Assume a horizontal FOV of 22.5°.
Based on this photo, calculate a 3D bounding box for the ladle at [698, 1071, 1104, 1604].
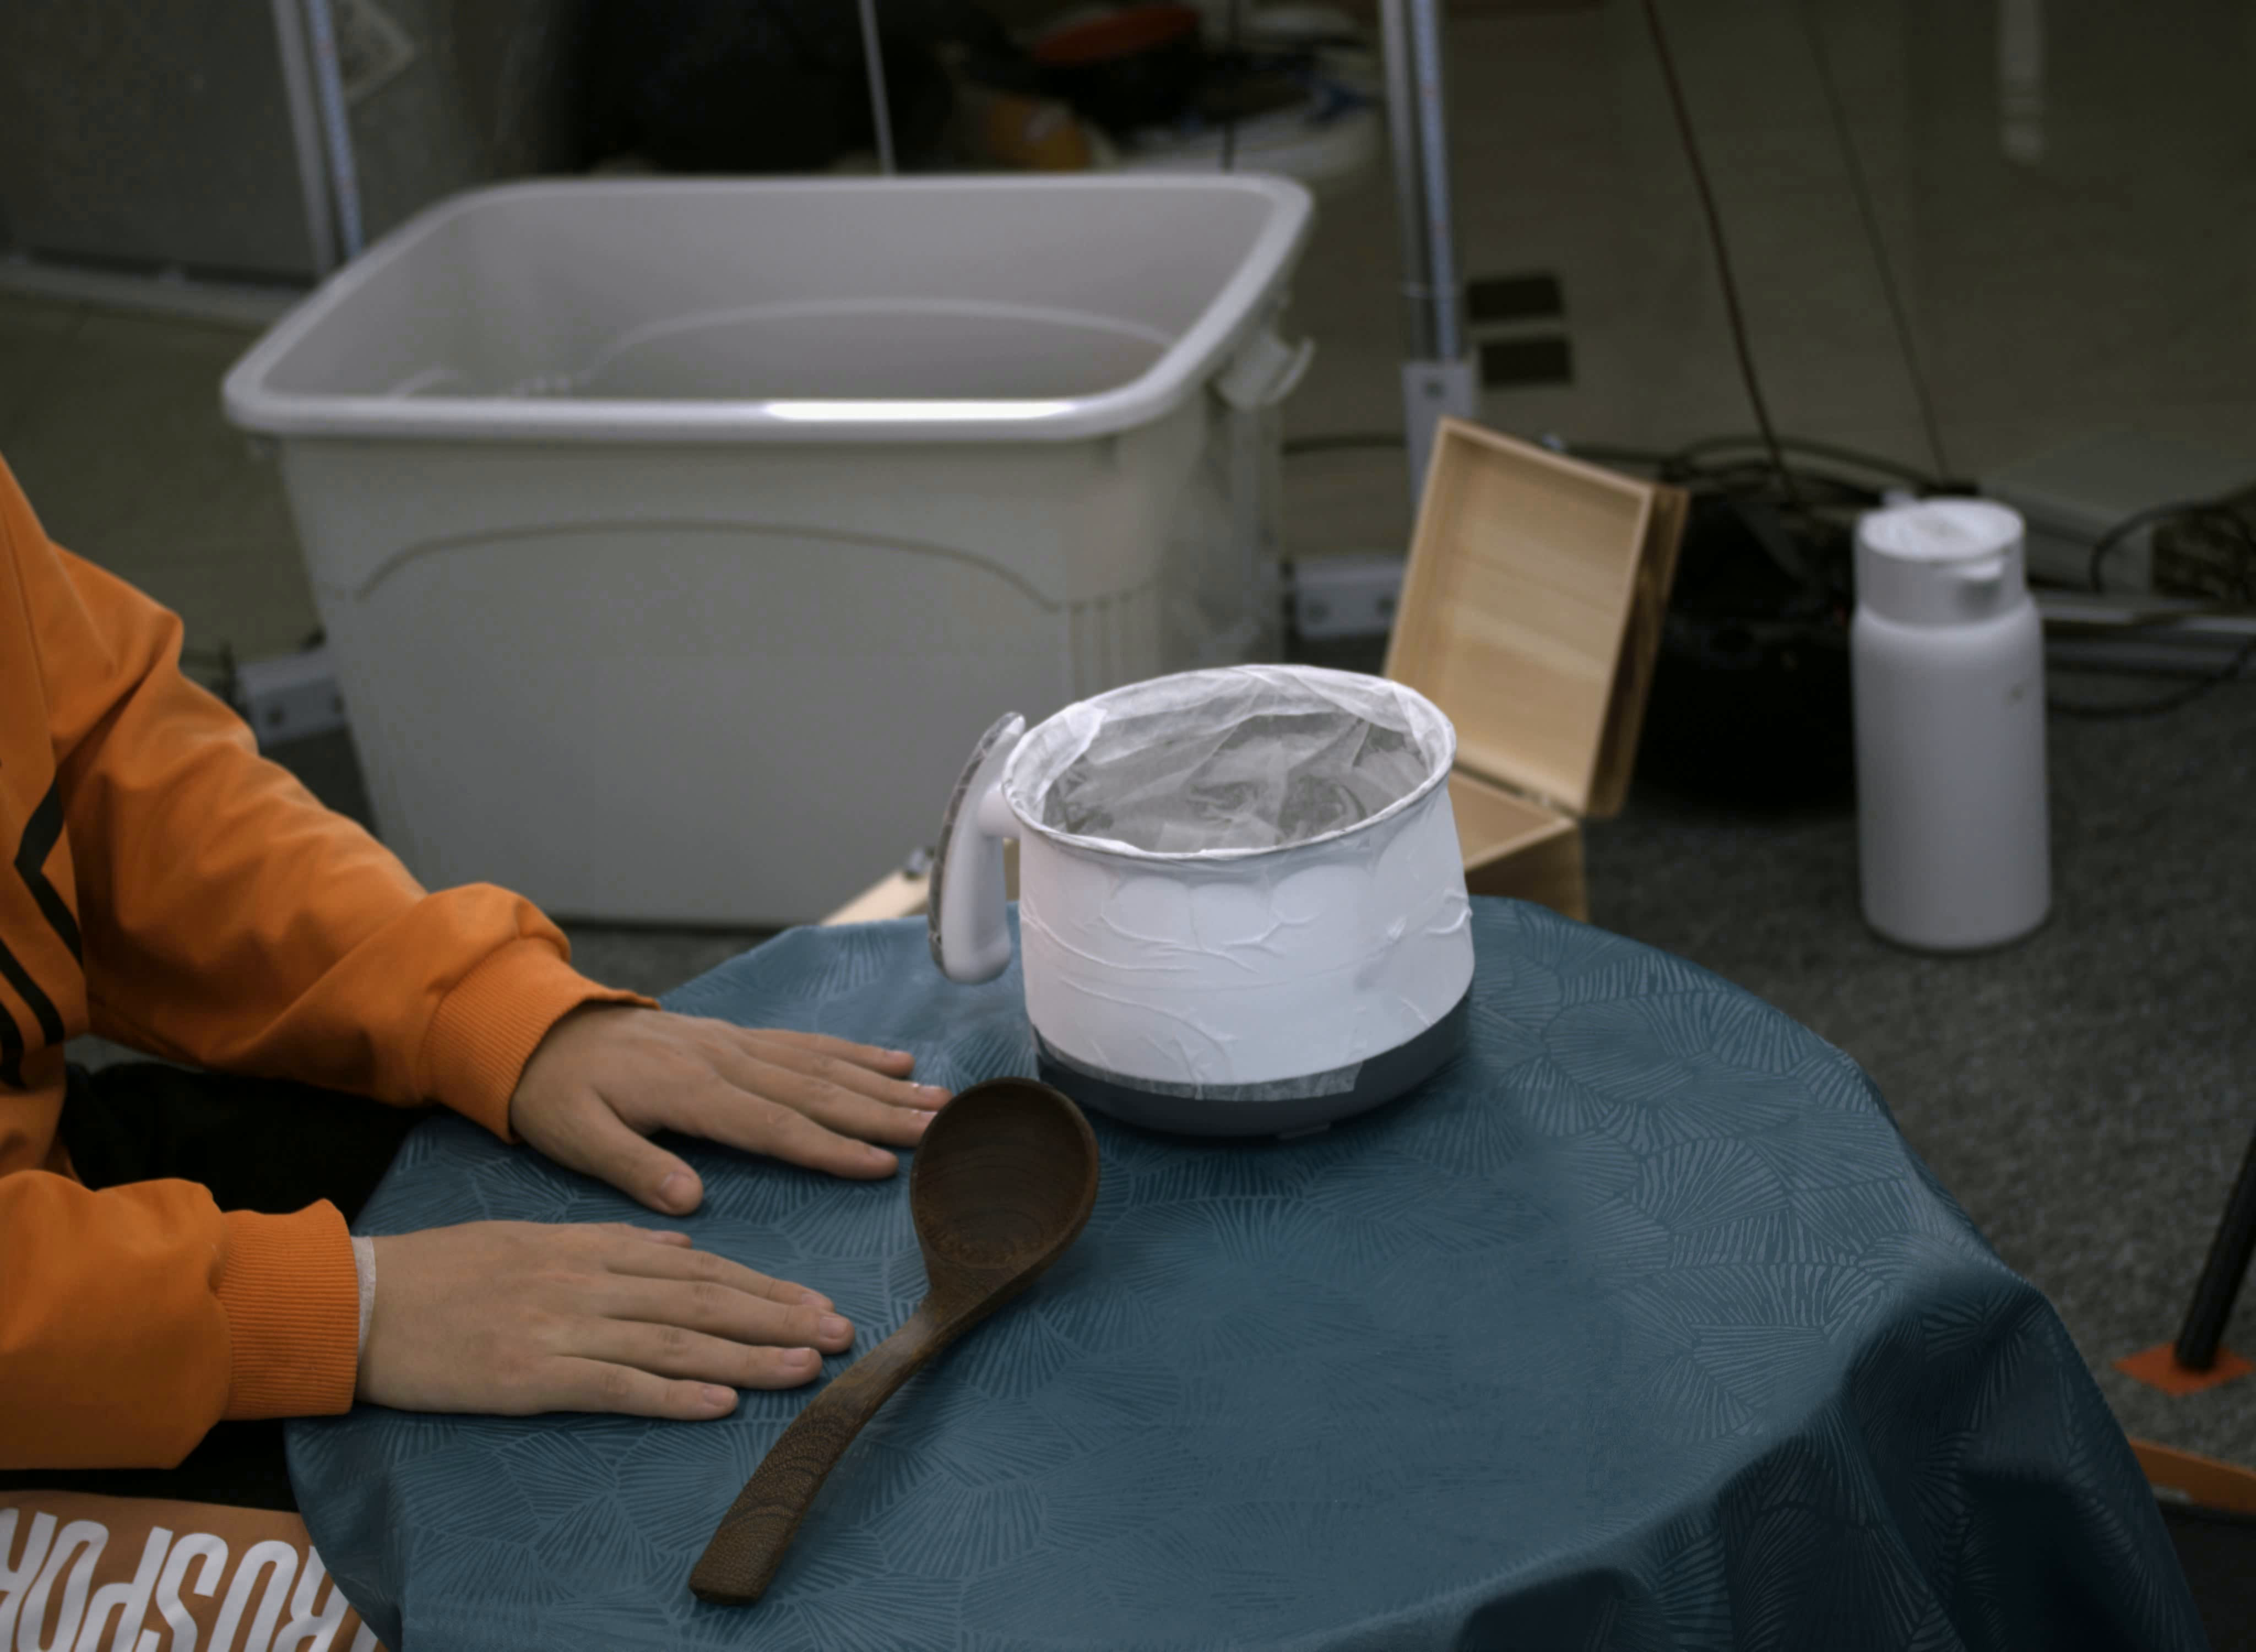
[{"bbox_3d":[-0.086,0.174,2.008,0.076,0.072,0.270,3,26,25],"label":"ladle"}]

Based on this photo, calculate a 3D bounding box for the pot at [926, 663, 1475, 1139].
[{"bbox_3d":[0.021,0.027,2.216,0.232,0.139,0.176,9,29,28],"label":"pot"}]
